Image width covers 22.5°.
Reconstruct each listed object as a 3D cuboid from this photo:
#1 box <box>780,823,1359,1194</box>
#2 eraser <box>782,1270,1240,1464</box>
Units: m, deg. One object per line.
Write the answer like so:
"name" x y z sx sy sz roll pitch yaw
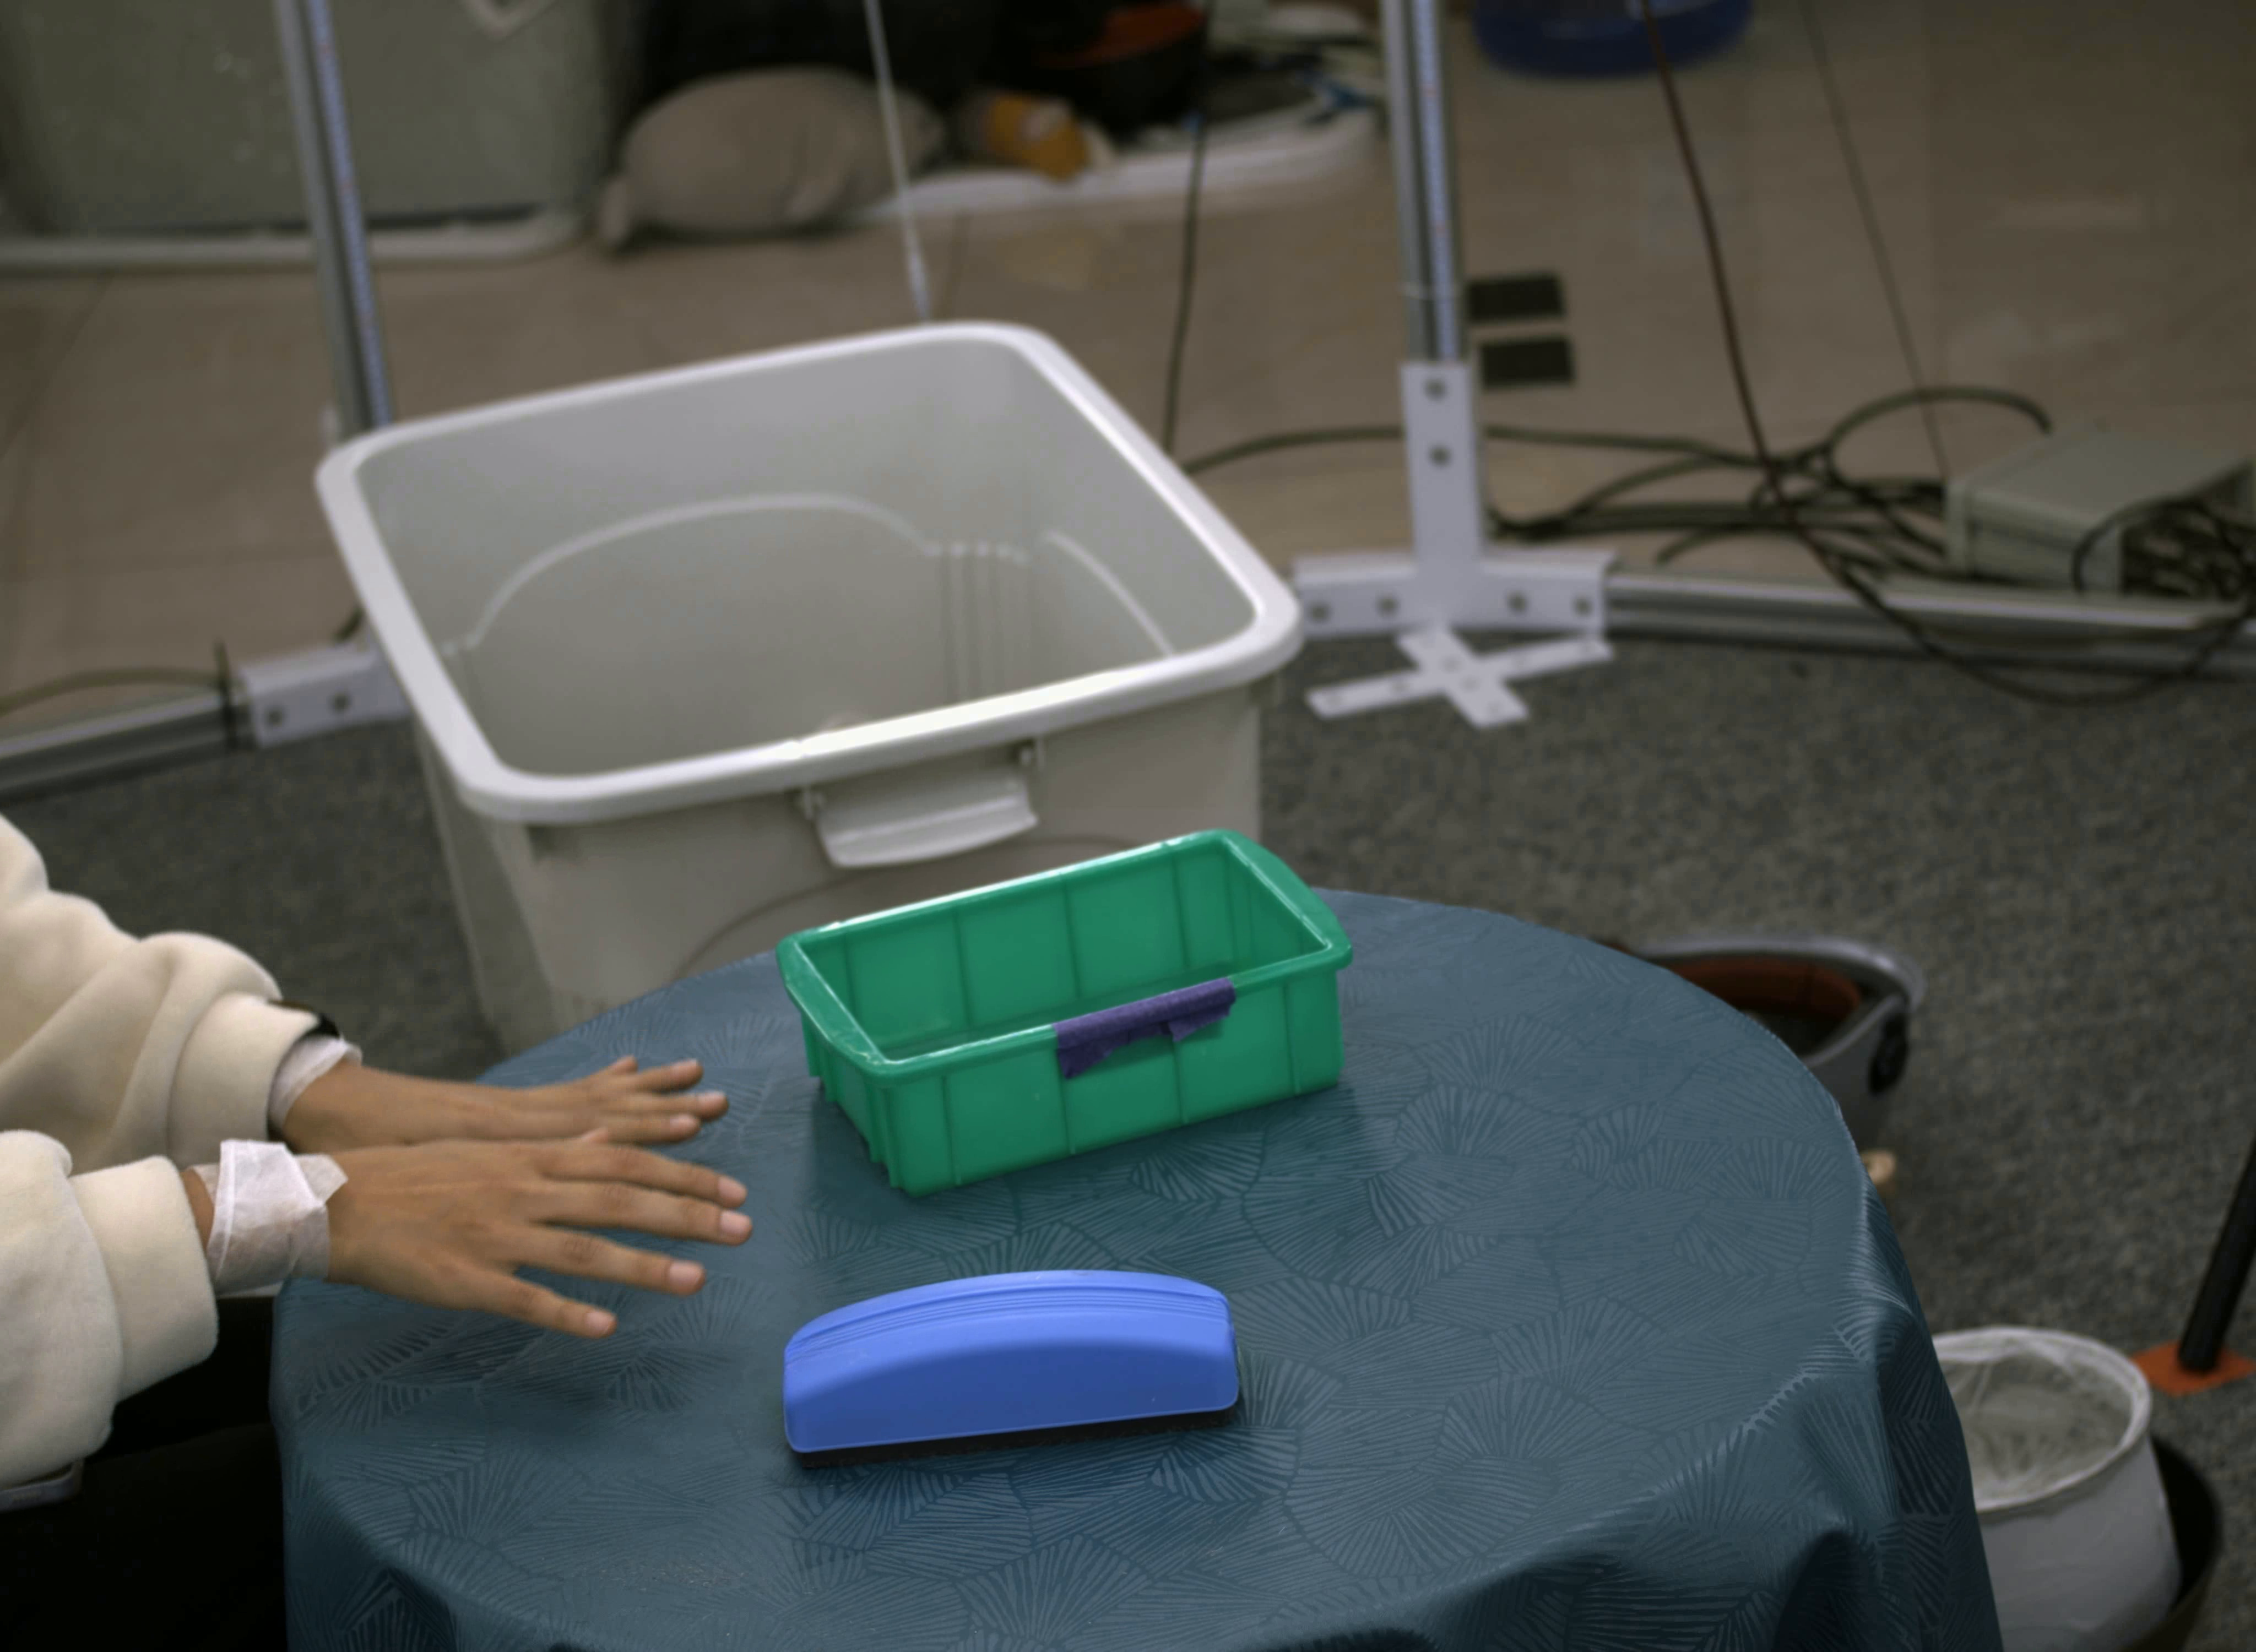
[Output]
"box" -0.021 0.072 2.223 0.210 0.066 0.137 -14 28 -17
"eraser" -0.042 0.187 1.999 0.162 0.048 0.053 -6 25 1
